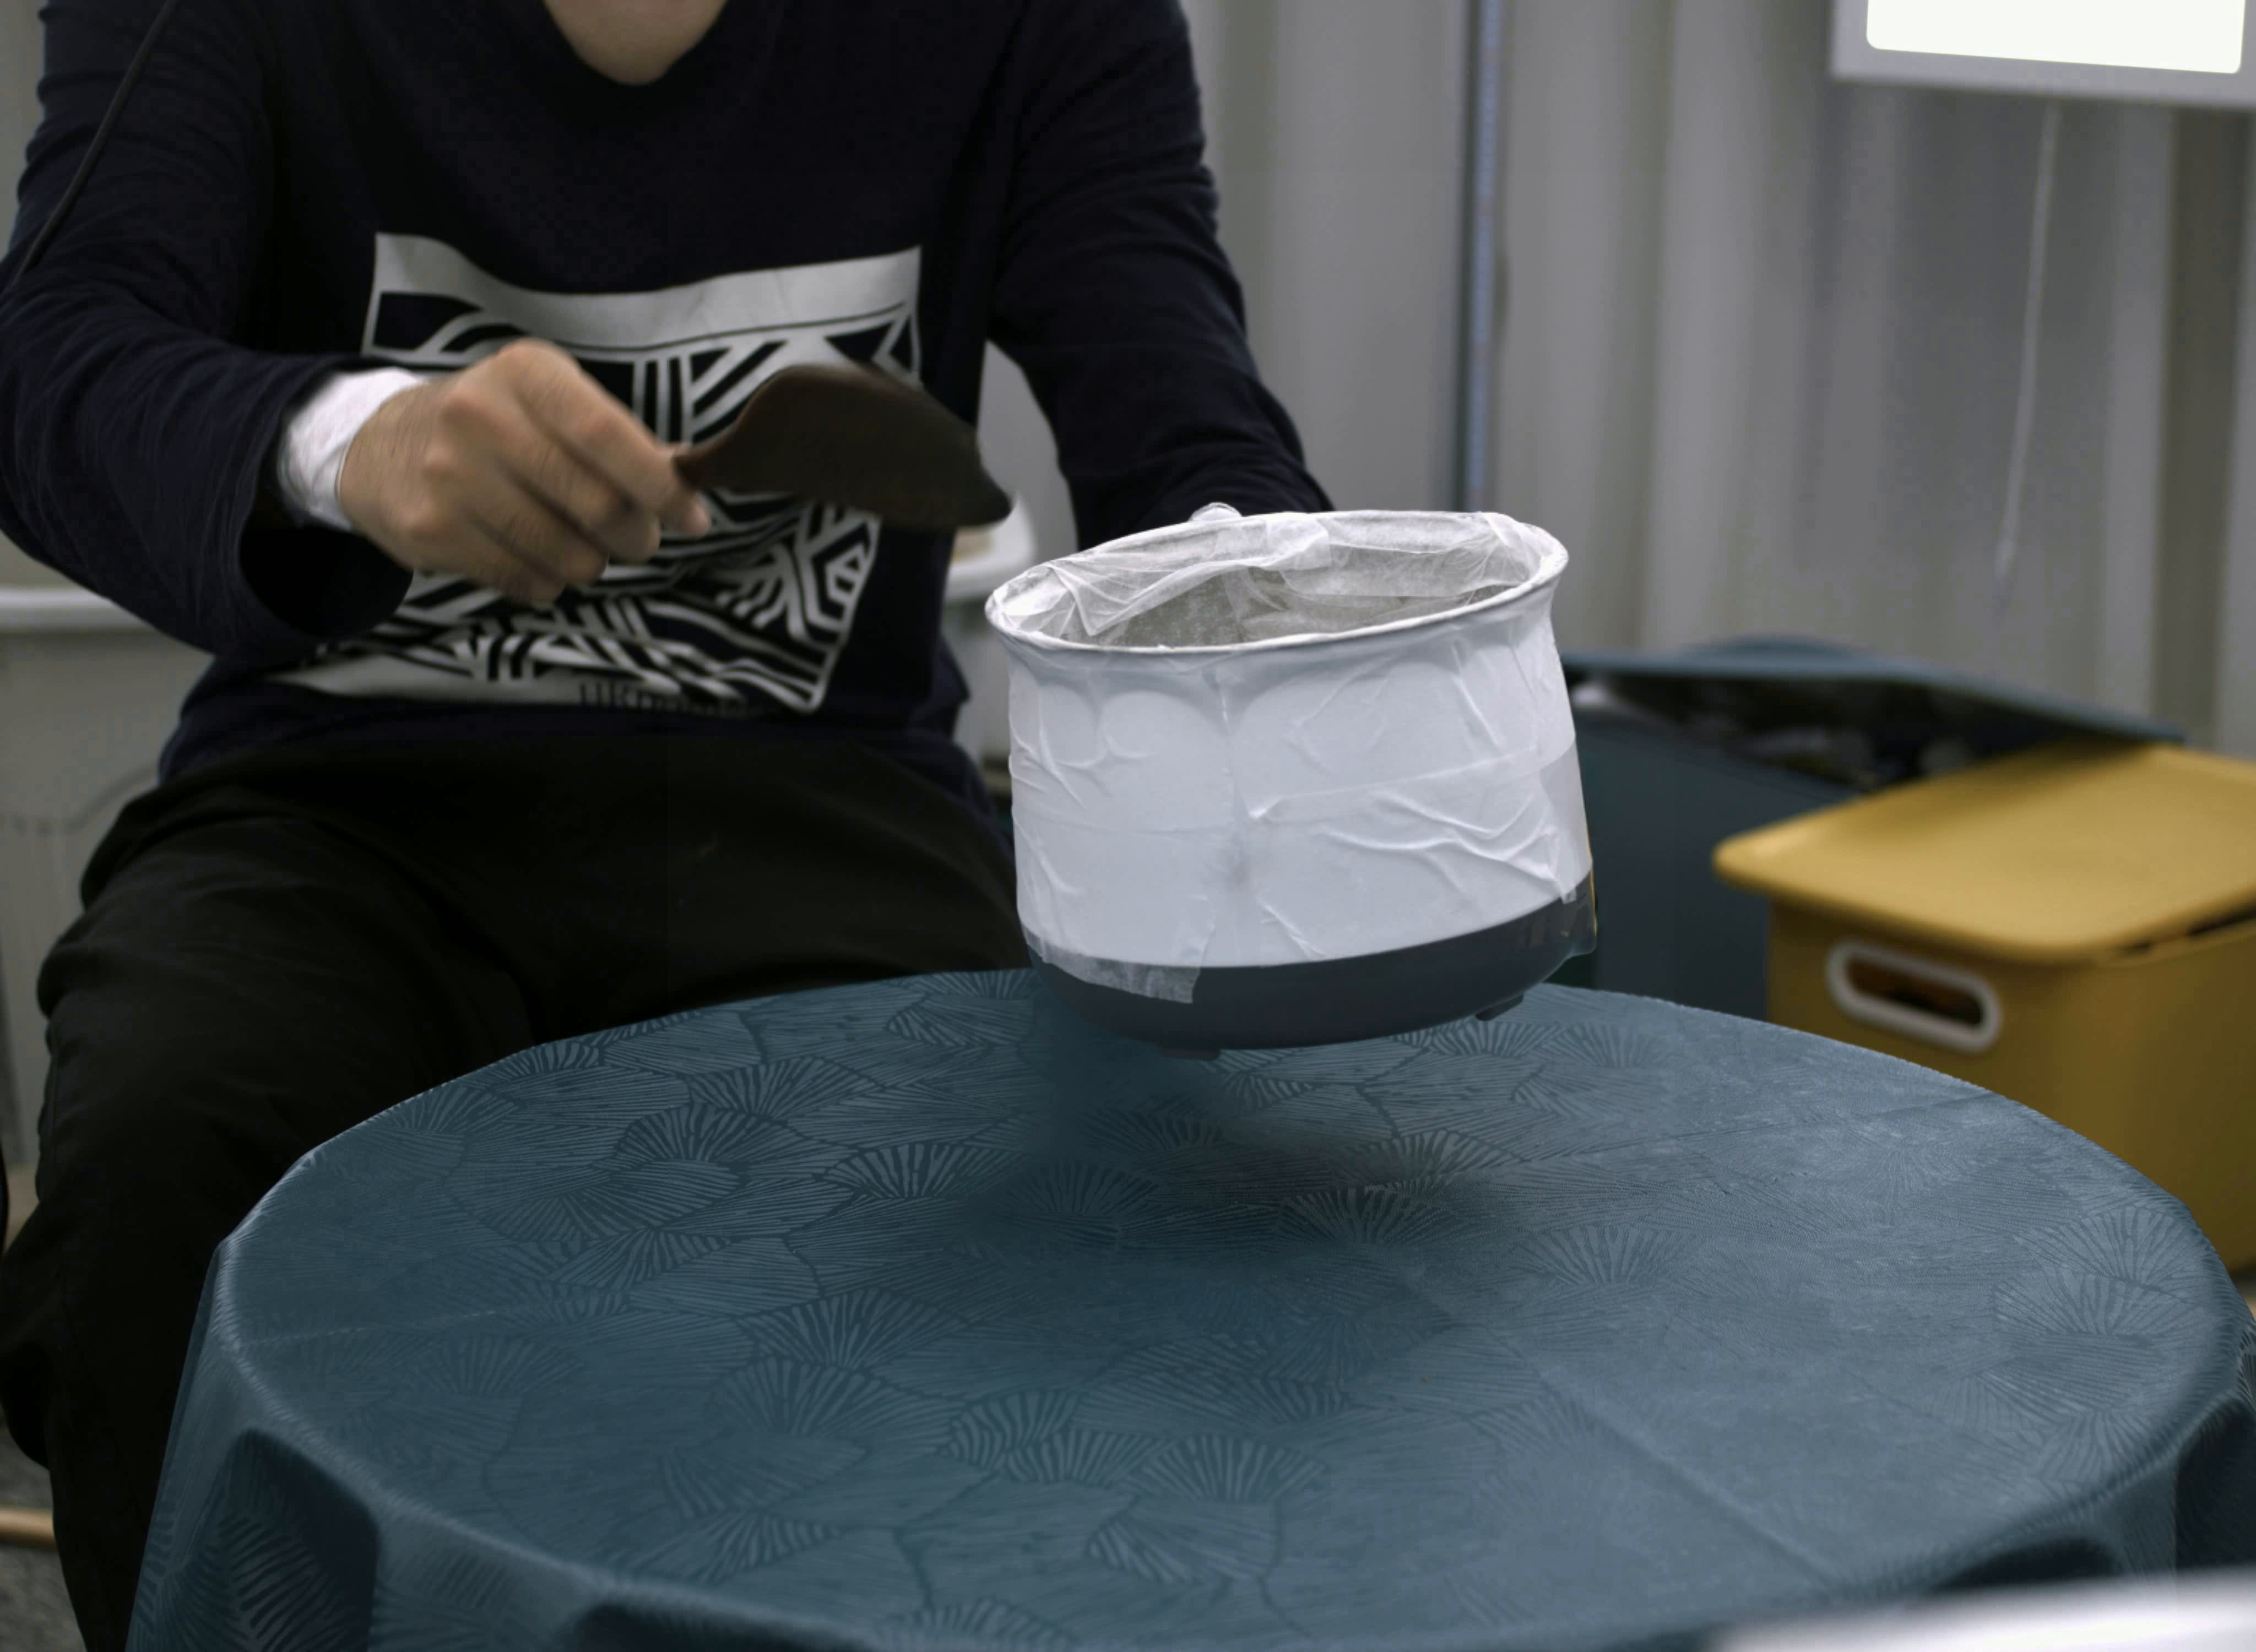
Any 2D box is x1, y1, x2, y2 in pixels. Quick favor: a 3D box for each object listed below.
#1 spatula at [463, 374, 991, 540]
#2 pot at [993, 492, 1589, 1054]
[{"bbox_3d":[-0.122,-0.099,1.535,0.213,0.073,0.009,-4,51,44],"label":"spatula"},{"bbox_3d":[0.046,-0.022,1.628,0.179,0.138,0.231,-6,16,-10],"label":"pot"}]
